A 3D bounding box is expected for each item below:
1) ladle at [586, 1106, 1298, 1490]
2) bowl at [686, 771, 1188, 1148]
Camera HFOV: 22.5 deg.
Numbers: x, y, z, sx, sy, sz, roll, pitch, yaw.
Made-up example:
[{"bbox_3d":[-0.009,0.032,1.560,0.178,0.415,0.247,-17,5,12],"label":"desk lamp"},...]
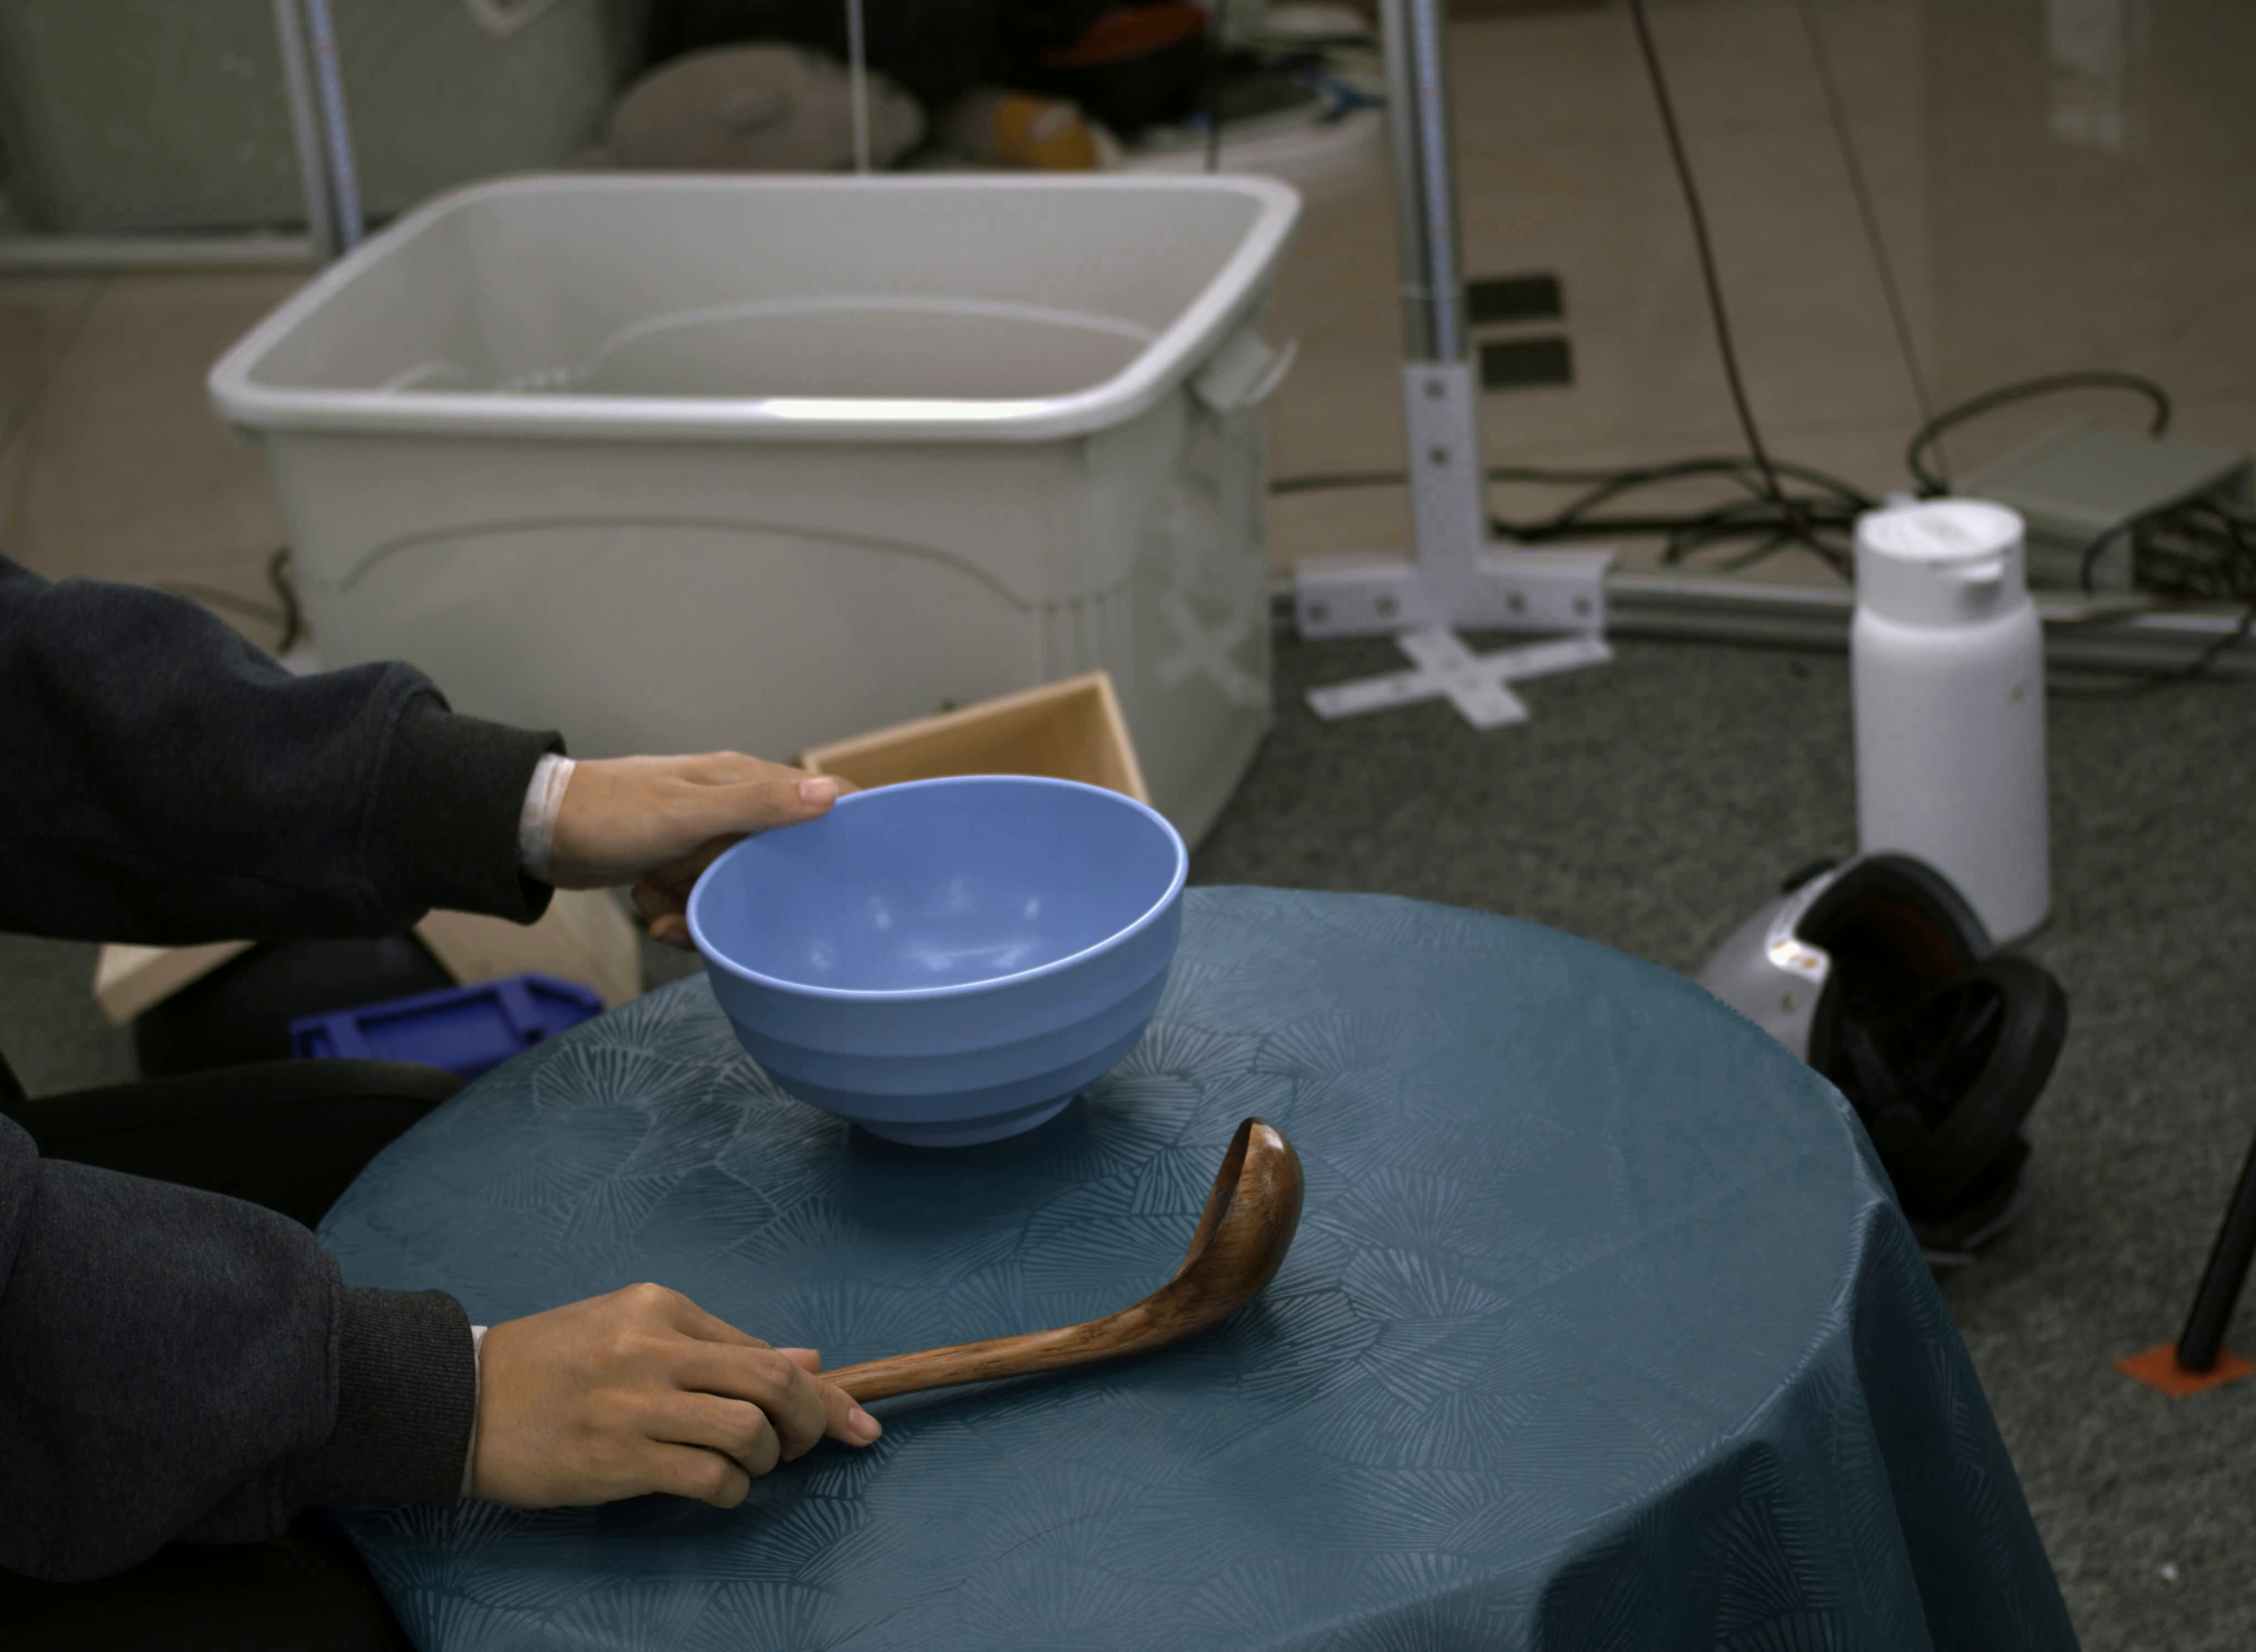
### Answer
[{"bbox_3d":[-0.067,0.165,2.021,0.273,0.076,0.082,-13,-14,-10],"label":"ladle"},{"bbox_3d":[-0.069,0.063,2.214,0.196,0.097,0.193,-5,26,3],"label":"bowl"}]
